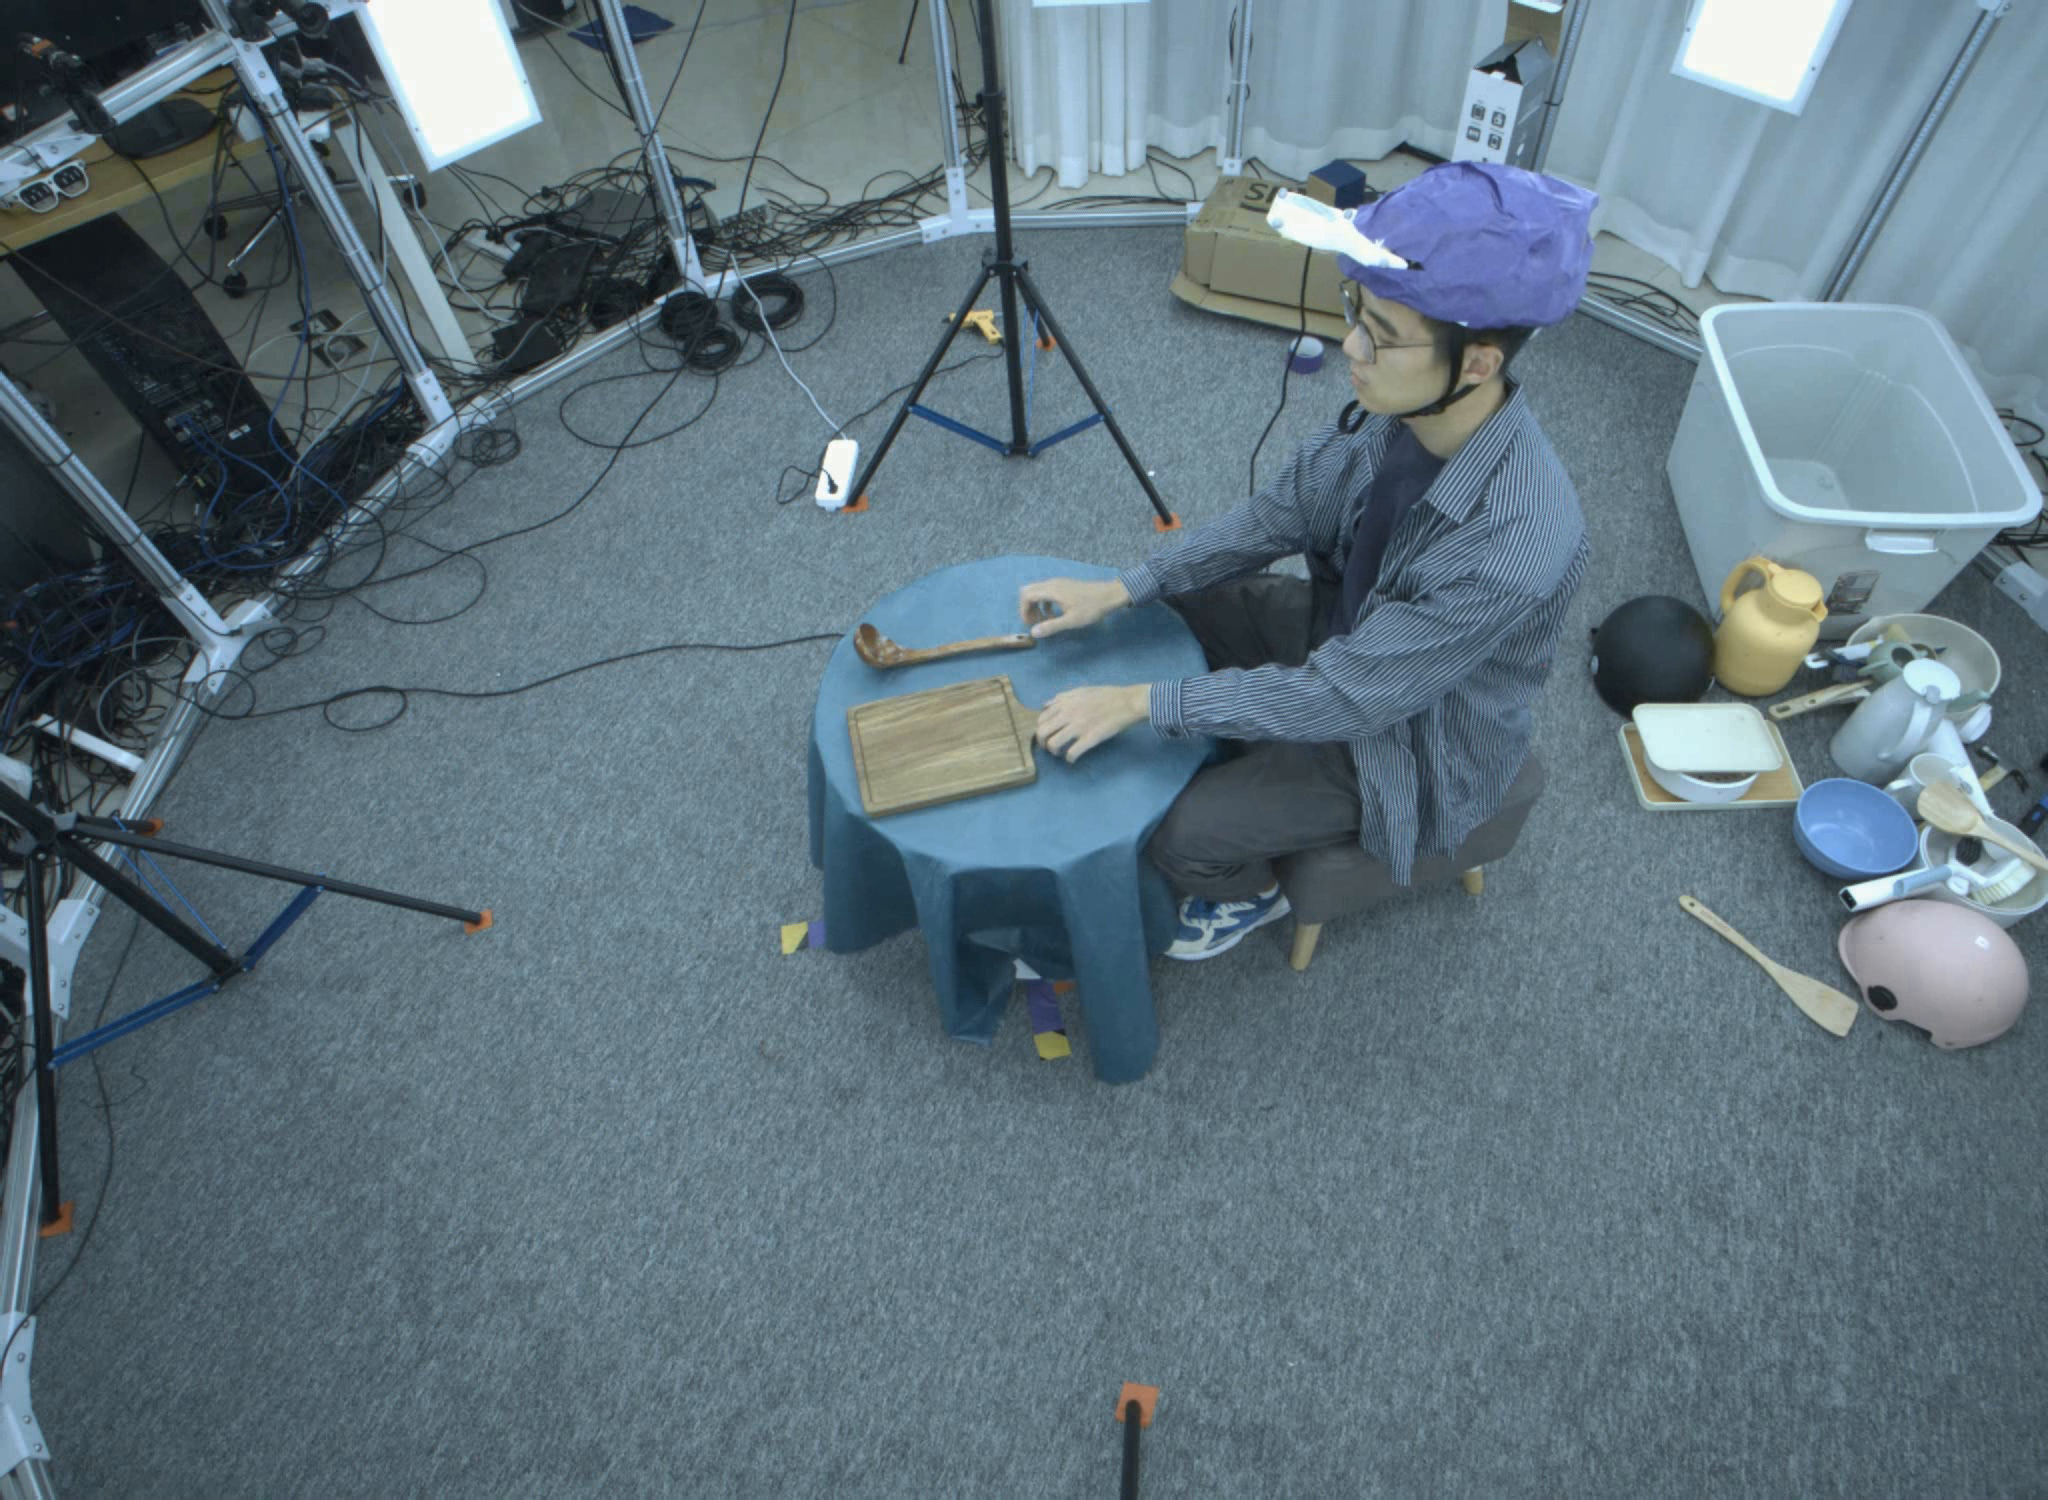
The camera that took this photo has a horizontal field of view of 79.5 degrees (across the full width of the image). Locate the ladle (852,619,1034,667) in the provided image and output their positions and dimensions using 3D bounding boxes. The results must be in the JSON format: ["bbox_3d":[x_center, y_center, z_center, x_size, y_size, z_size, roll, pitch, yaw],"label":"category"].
[{"bbox_3d":[-0.124,-0.173,1.871,0.275,0.077,0.081,-7,50,-3],"label":"ladle"}]

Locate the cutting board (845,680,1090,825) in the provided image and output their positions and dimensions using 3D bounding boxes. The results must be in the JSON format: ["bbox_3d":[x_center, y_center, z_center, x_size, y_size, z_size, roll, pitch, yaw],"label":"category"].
[{"bbox_3d":[-0.075,-0.010,1.788,0.354,0.023,0.198,-11,55,-7],"label":"cutting board"}]
